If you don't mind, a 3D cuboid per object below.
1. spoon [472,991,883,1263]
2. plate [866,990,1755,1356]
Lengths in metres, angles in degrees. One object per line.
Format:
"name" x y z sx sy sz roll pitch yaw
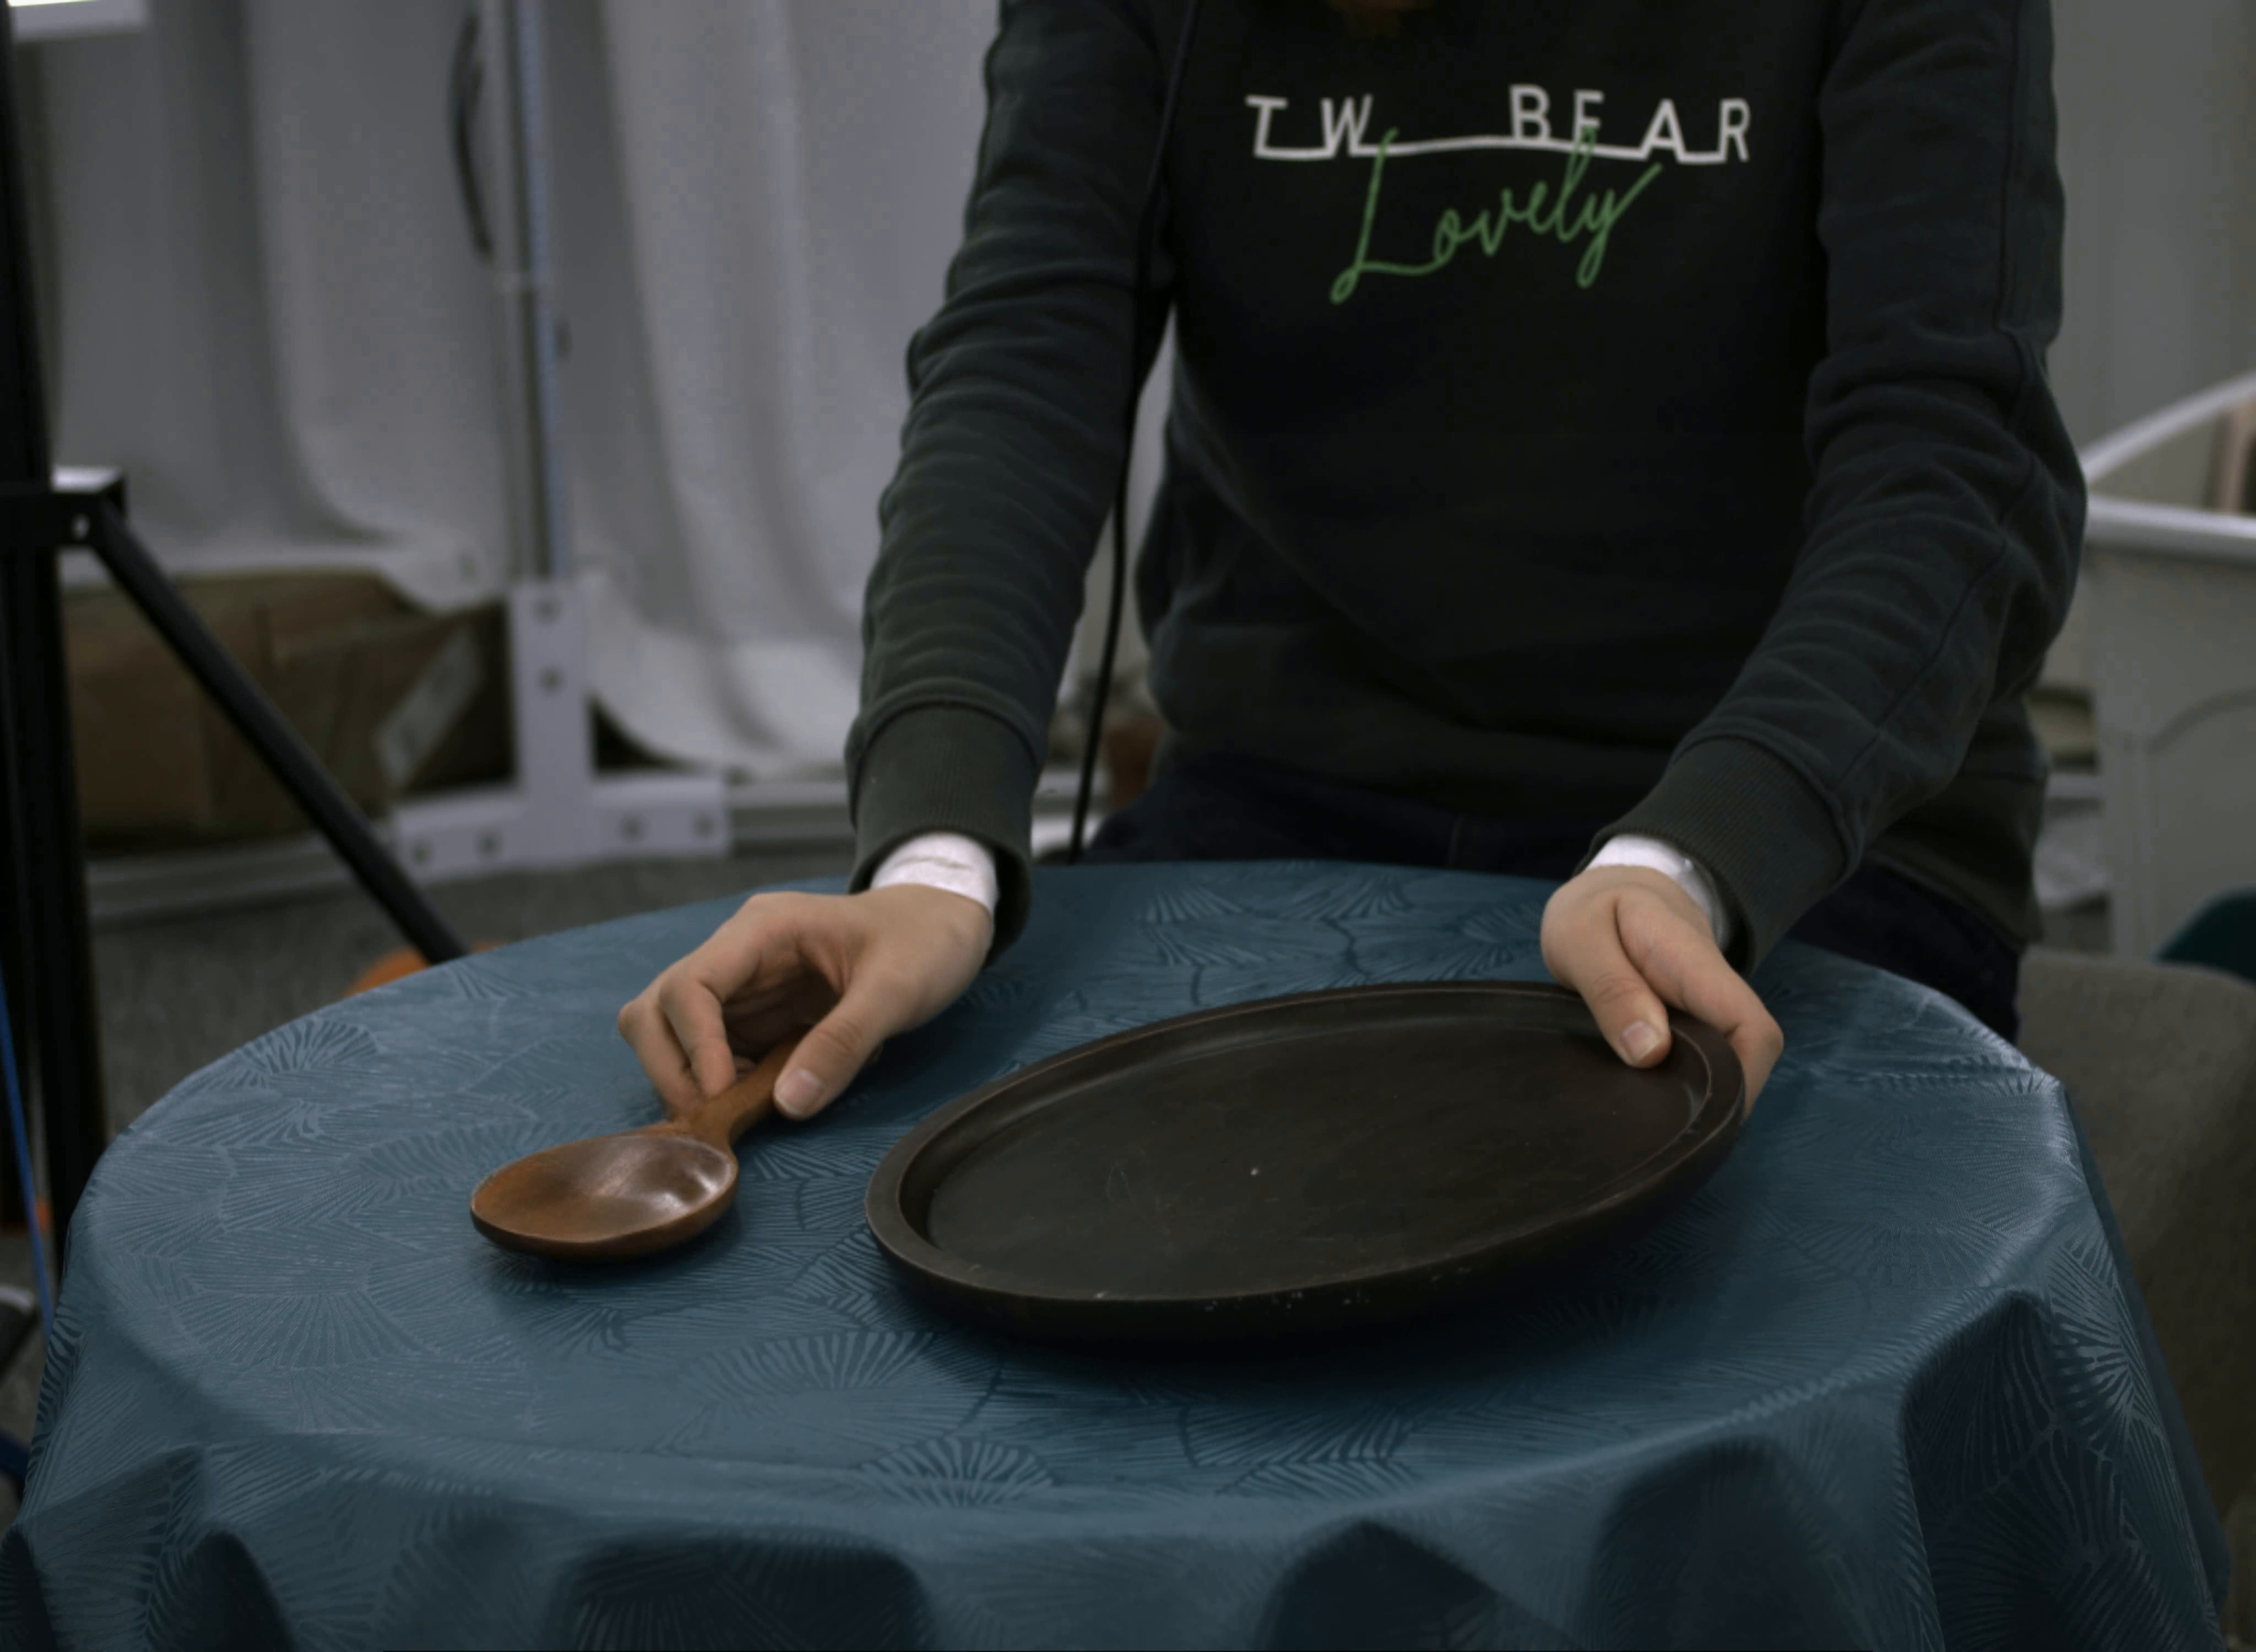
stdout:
"spoon" -0.125 0.091 1.598 0.076 0.017 0.213 4 19 23
"plate" 0.052 0.095 1.503 0.254 0.029 0.256 -9 17 1
